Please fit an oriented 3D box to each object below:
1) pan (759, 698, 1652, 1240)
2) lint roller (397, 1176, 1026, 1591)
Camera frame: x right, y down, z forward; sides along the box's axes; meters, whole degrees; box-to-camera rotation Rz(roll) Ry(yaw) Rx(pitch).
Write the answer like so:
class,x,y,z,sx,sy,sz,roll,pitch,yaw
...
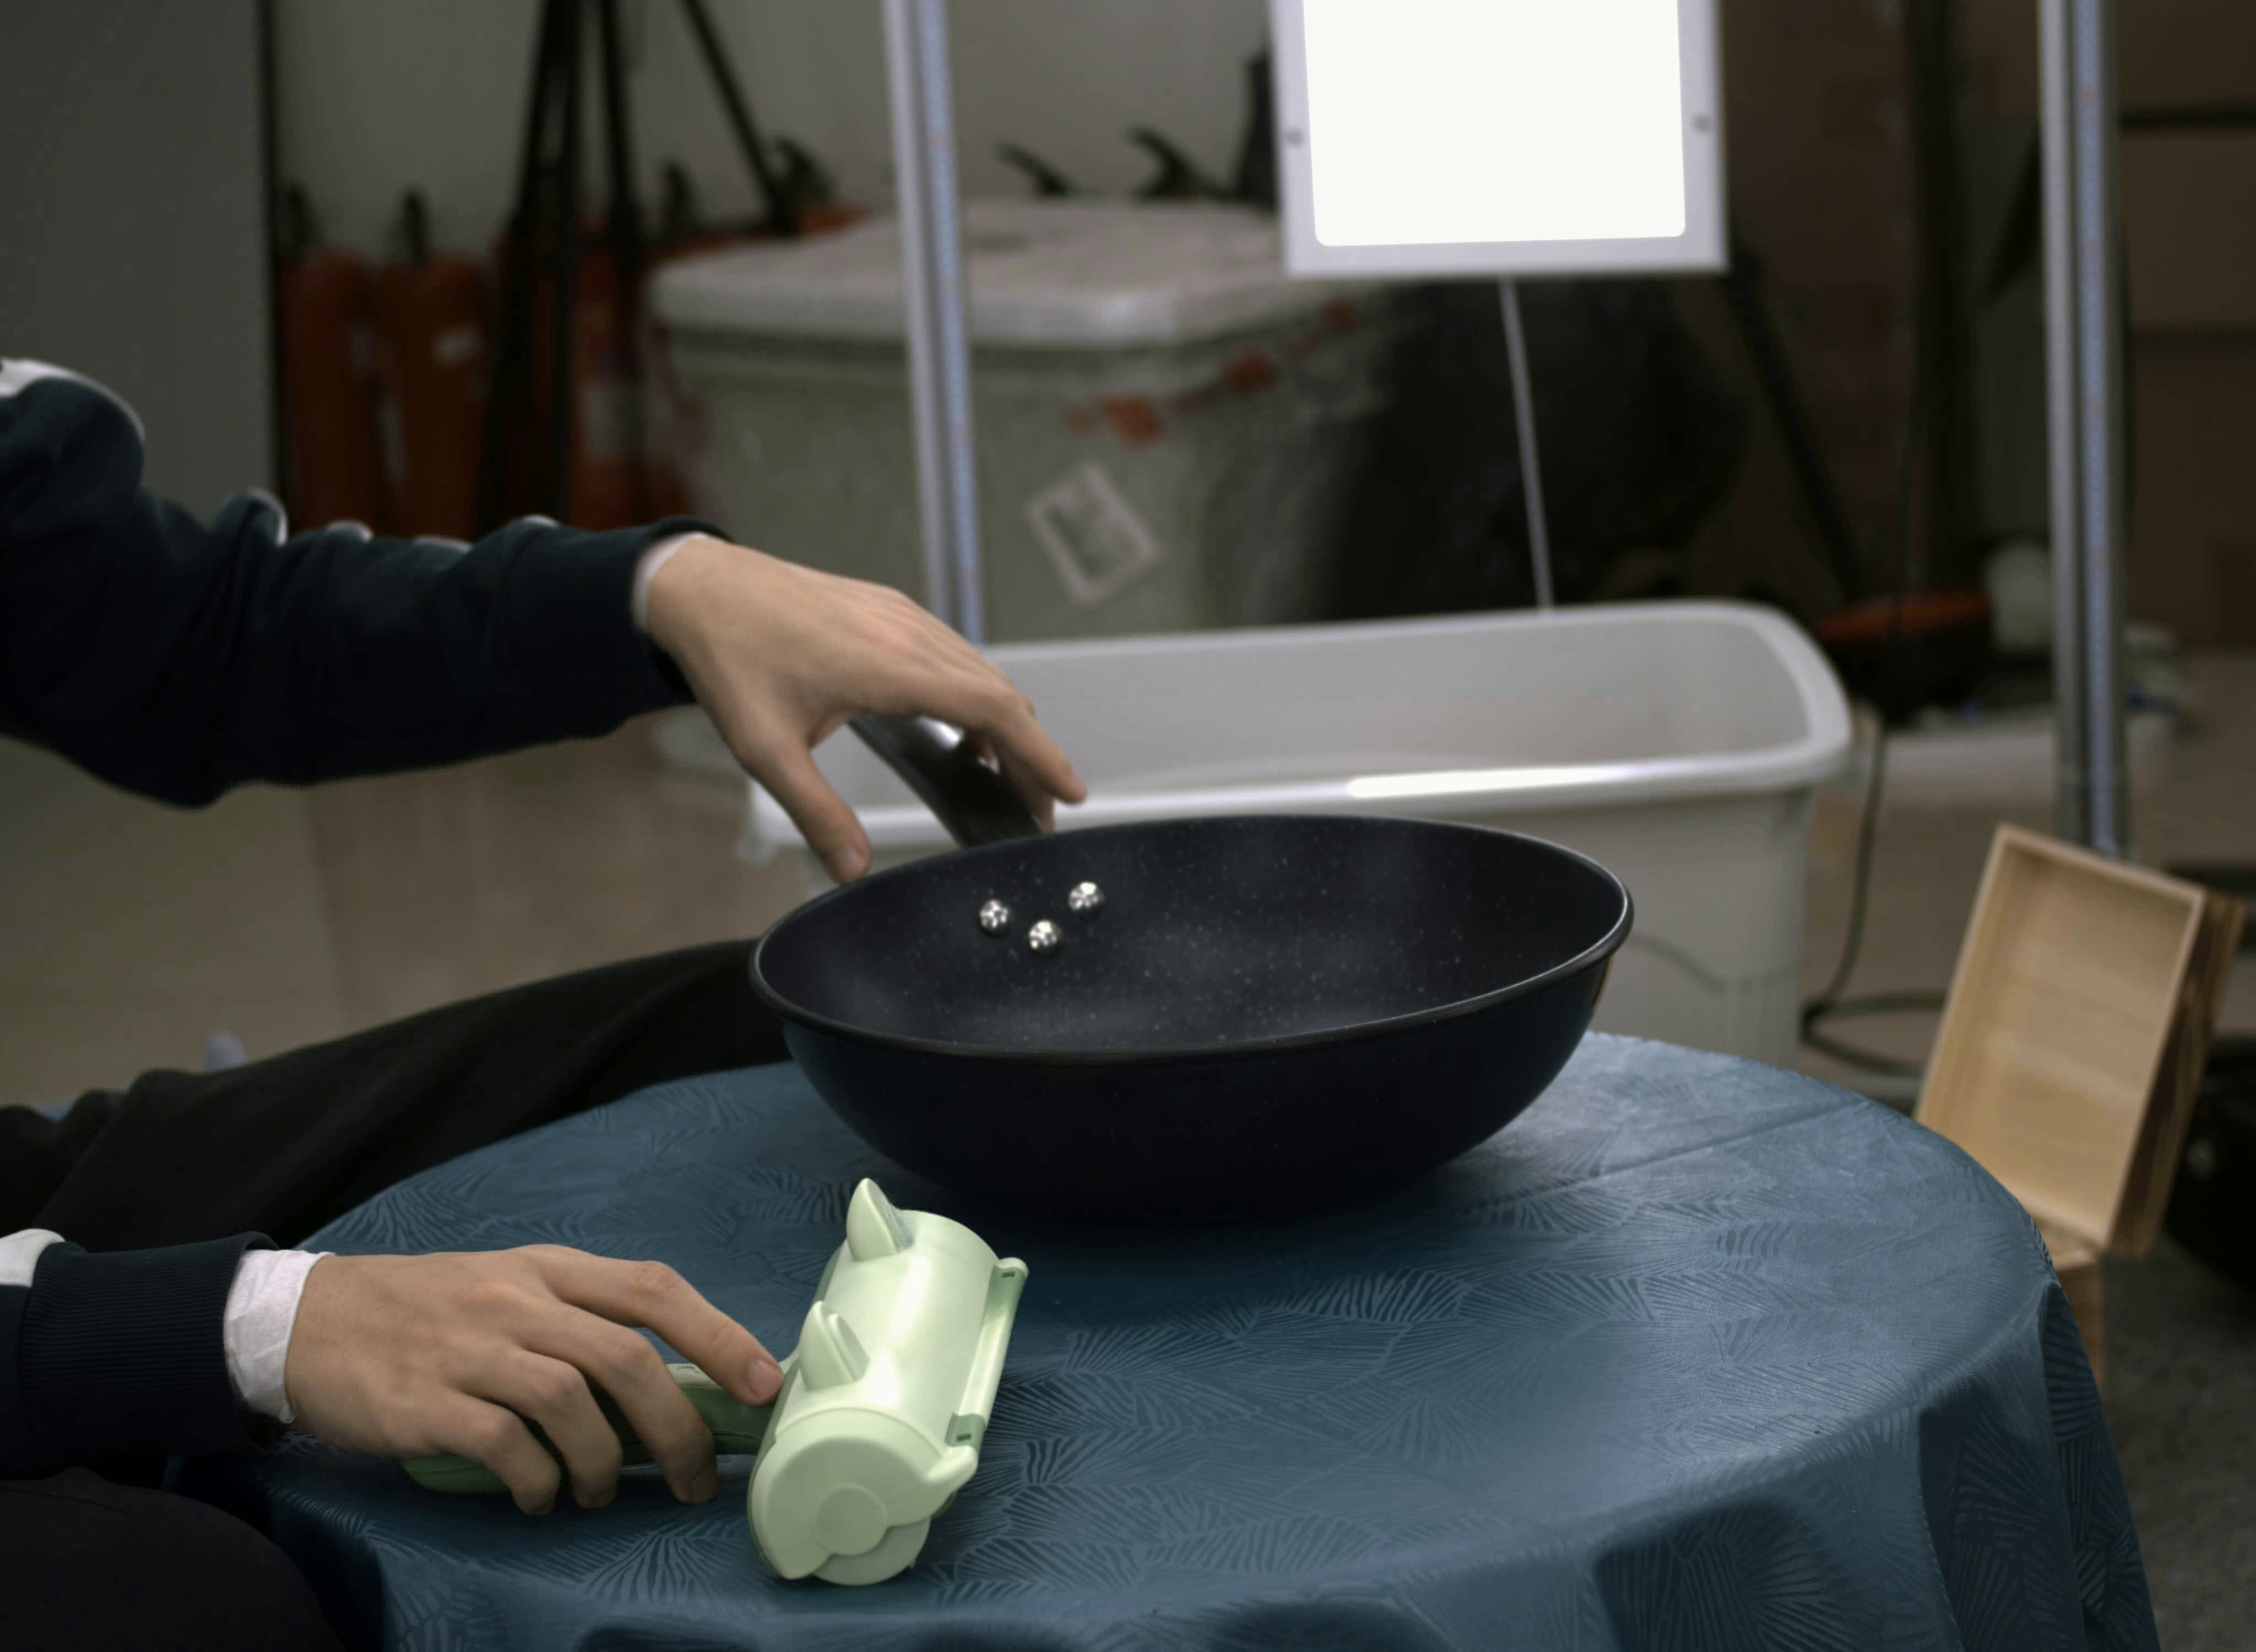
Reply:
class,x,y,z,sx,sy,sz,roll,pitch,yaw
pan,-0.006,0.051,1.985,0.304,0.112,0.484,-9,15,-21
lint roller,-0.129,0.160,1.648,0.183,0.082,0.197,1,15,5
